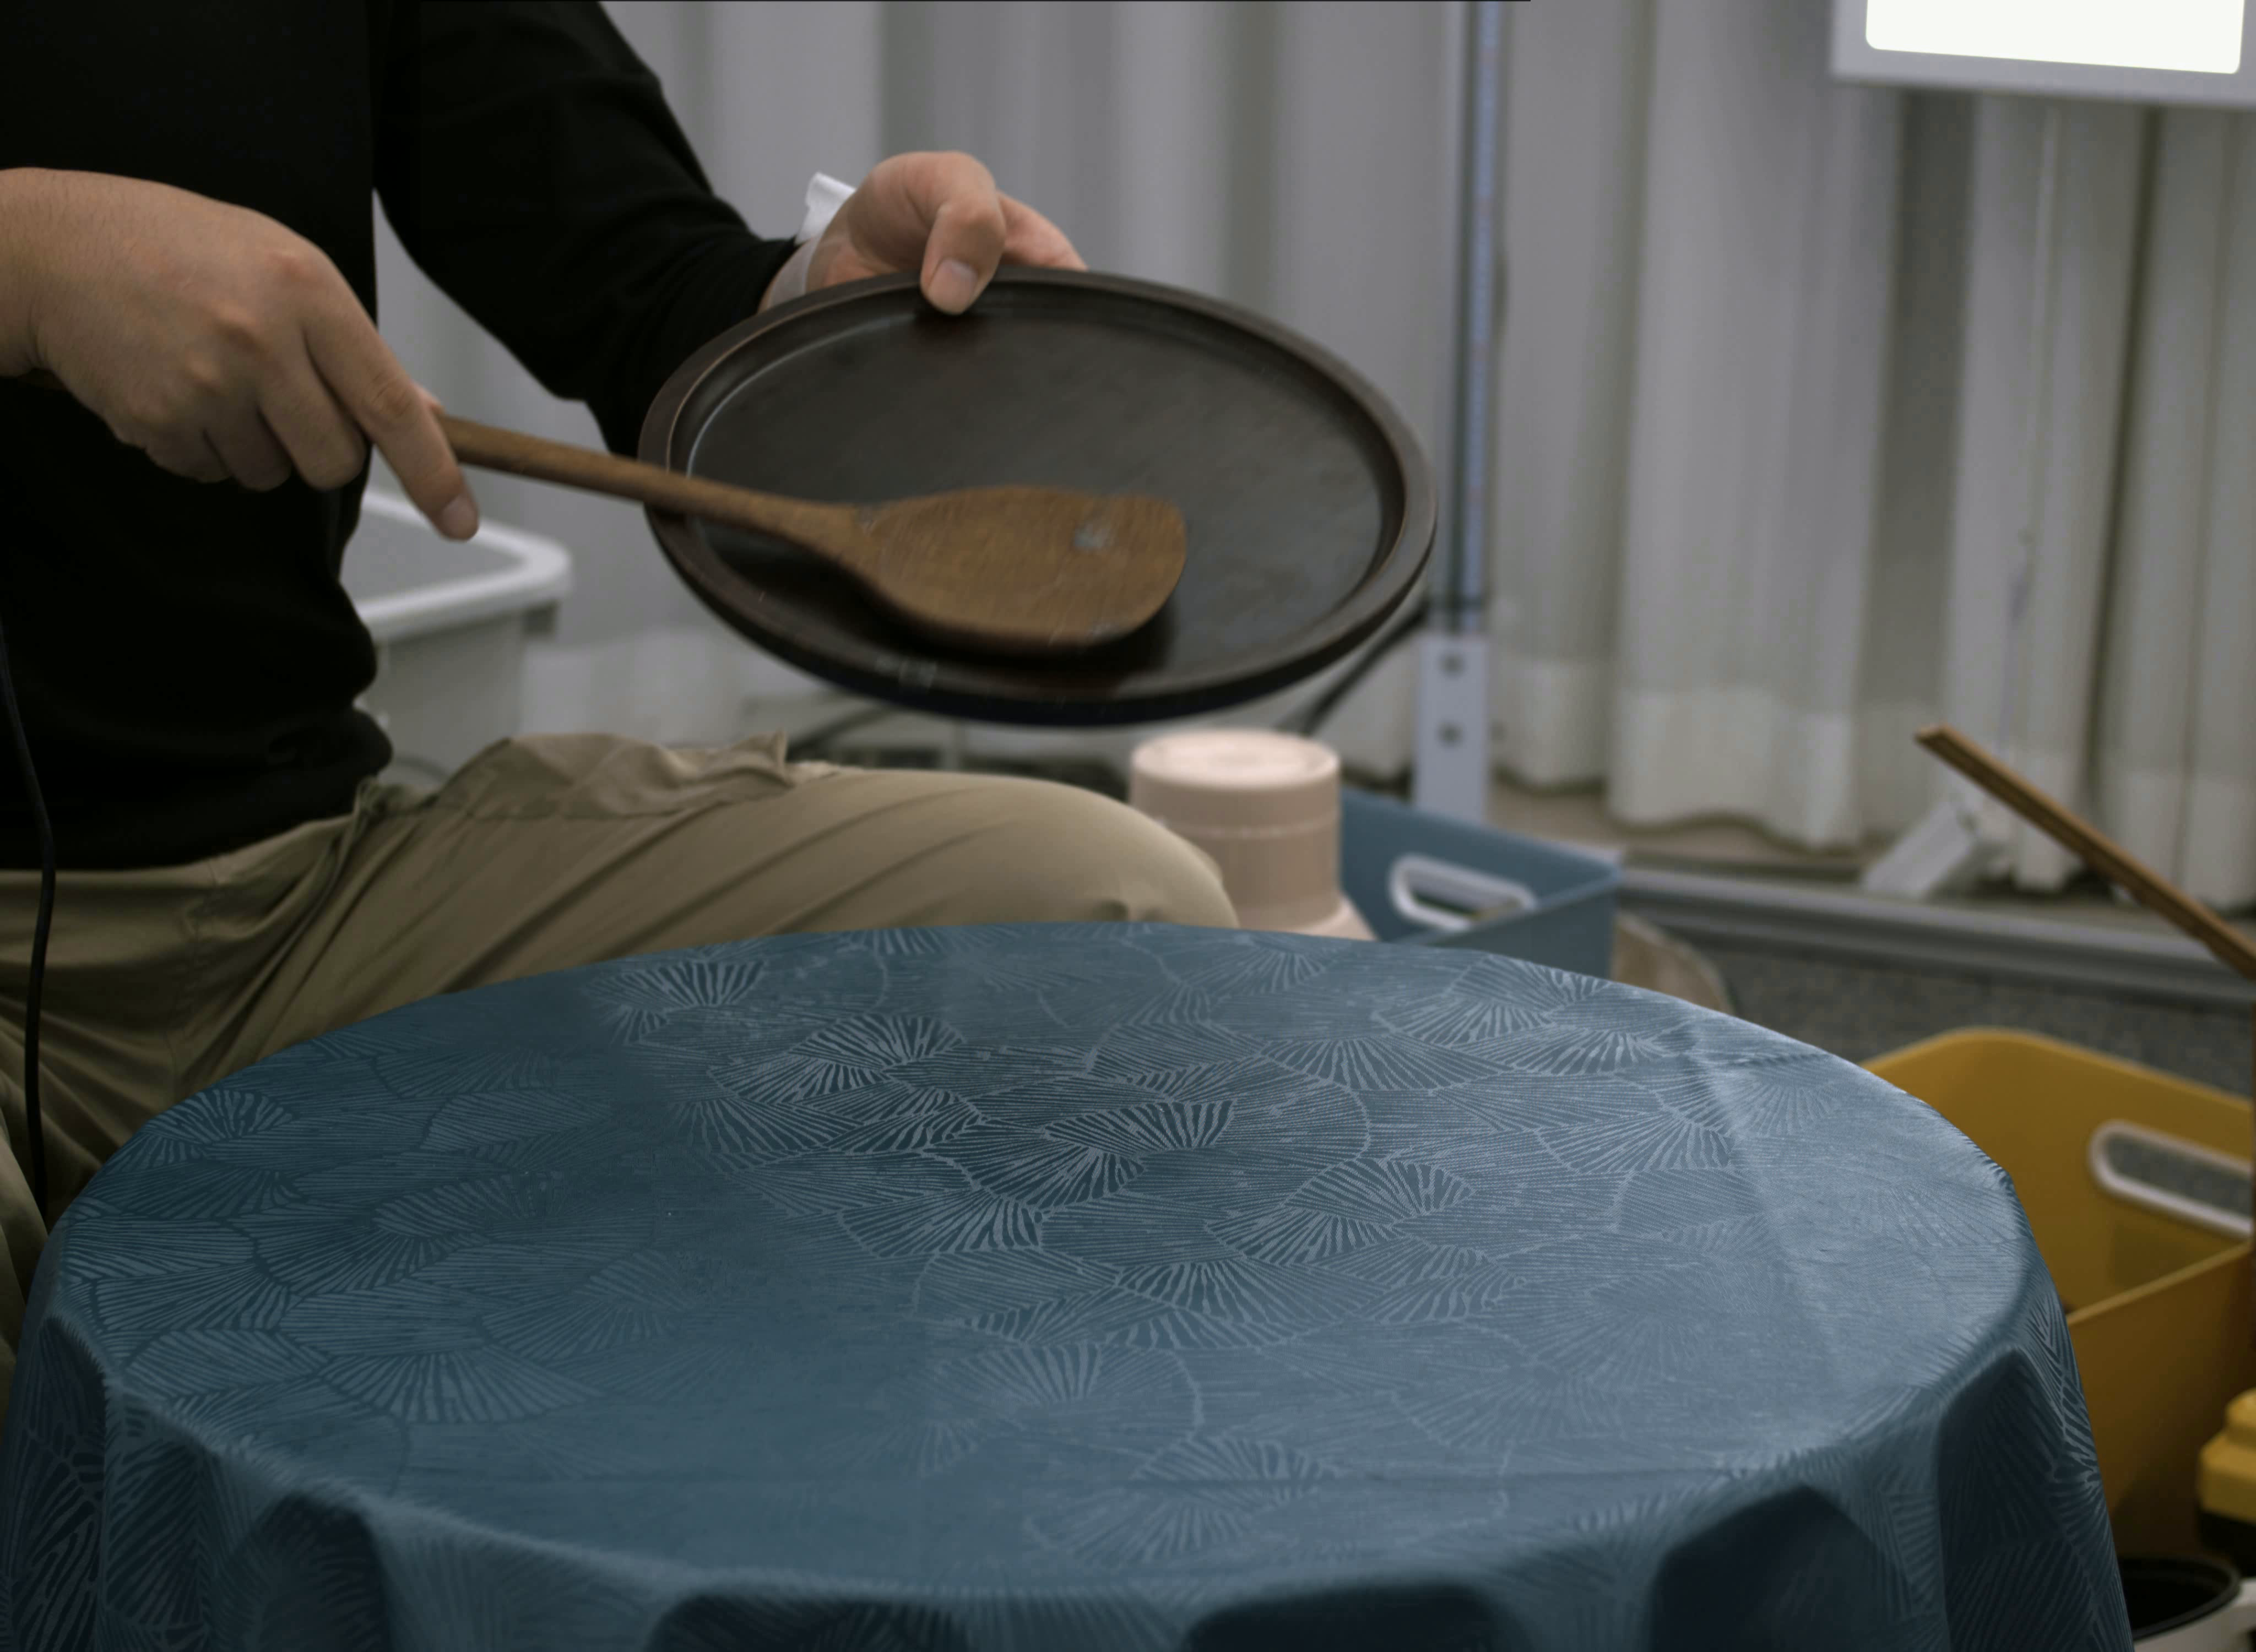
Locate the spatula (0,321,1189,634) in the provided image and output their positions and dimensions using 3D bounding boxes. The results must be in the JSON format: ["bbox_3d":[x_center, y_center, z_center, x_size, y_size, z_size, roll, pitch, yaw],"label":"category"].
[{"bbox_3d":[-0.170,-0.113,1.617,0.383,0.016,0.095,12,33,9],"label":"spatula"}]

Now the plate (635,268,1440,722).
[{"bbox_3d":[-0.029,-0.107,1.654,0.254,0.029,0.252,5,36,-3],"label":"plate"}]
